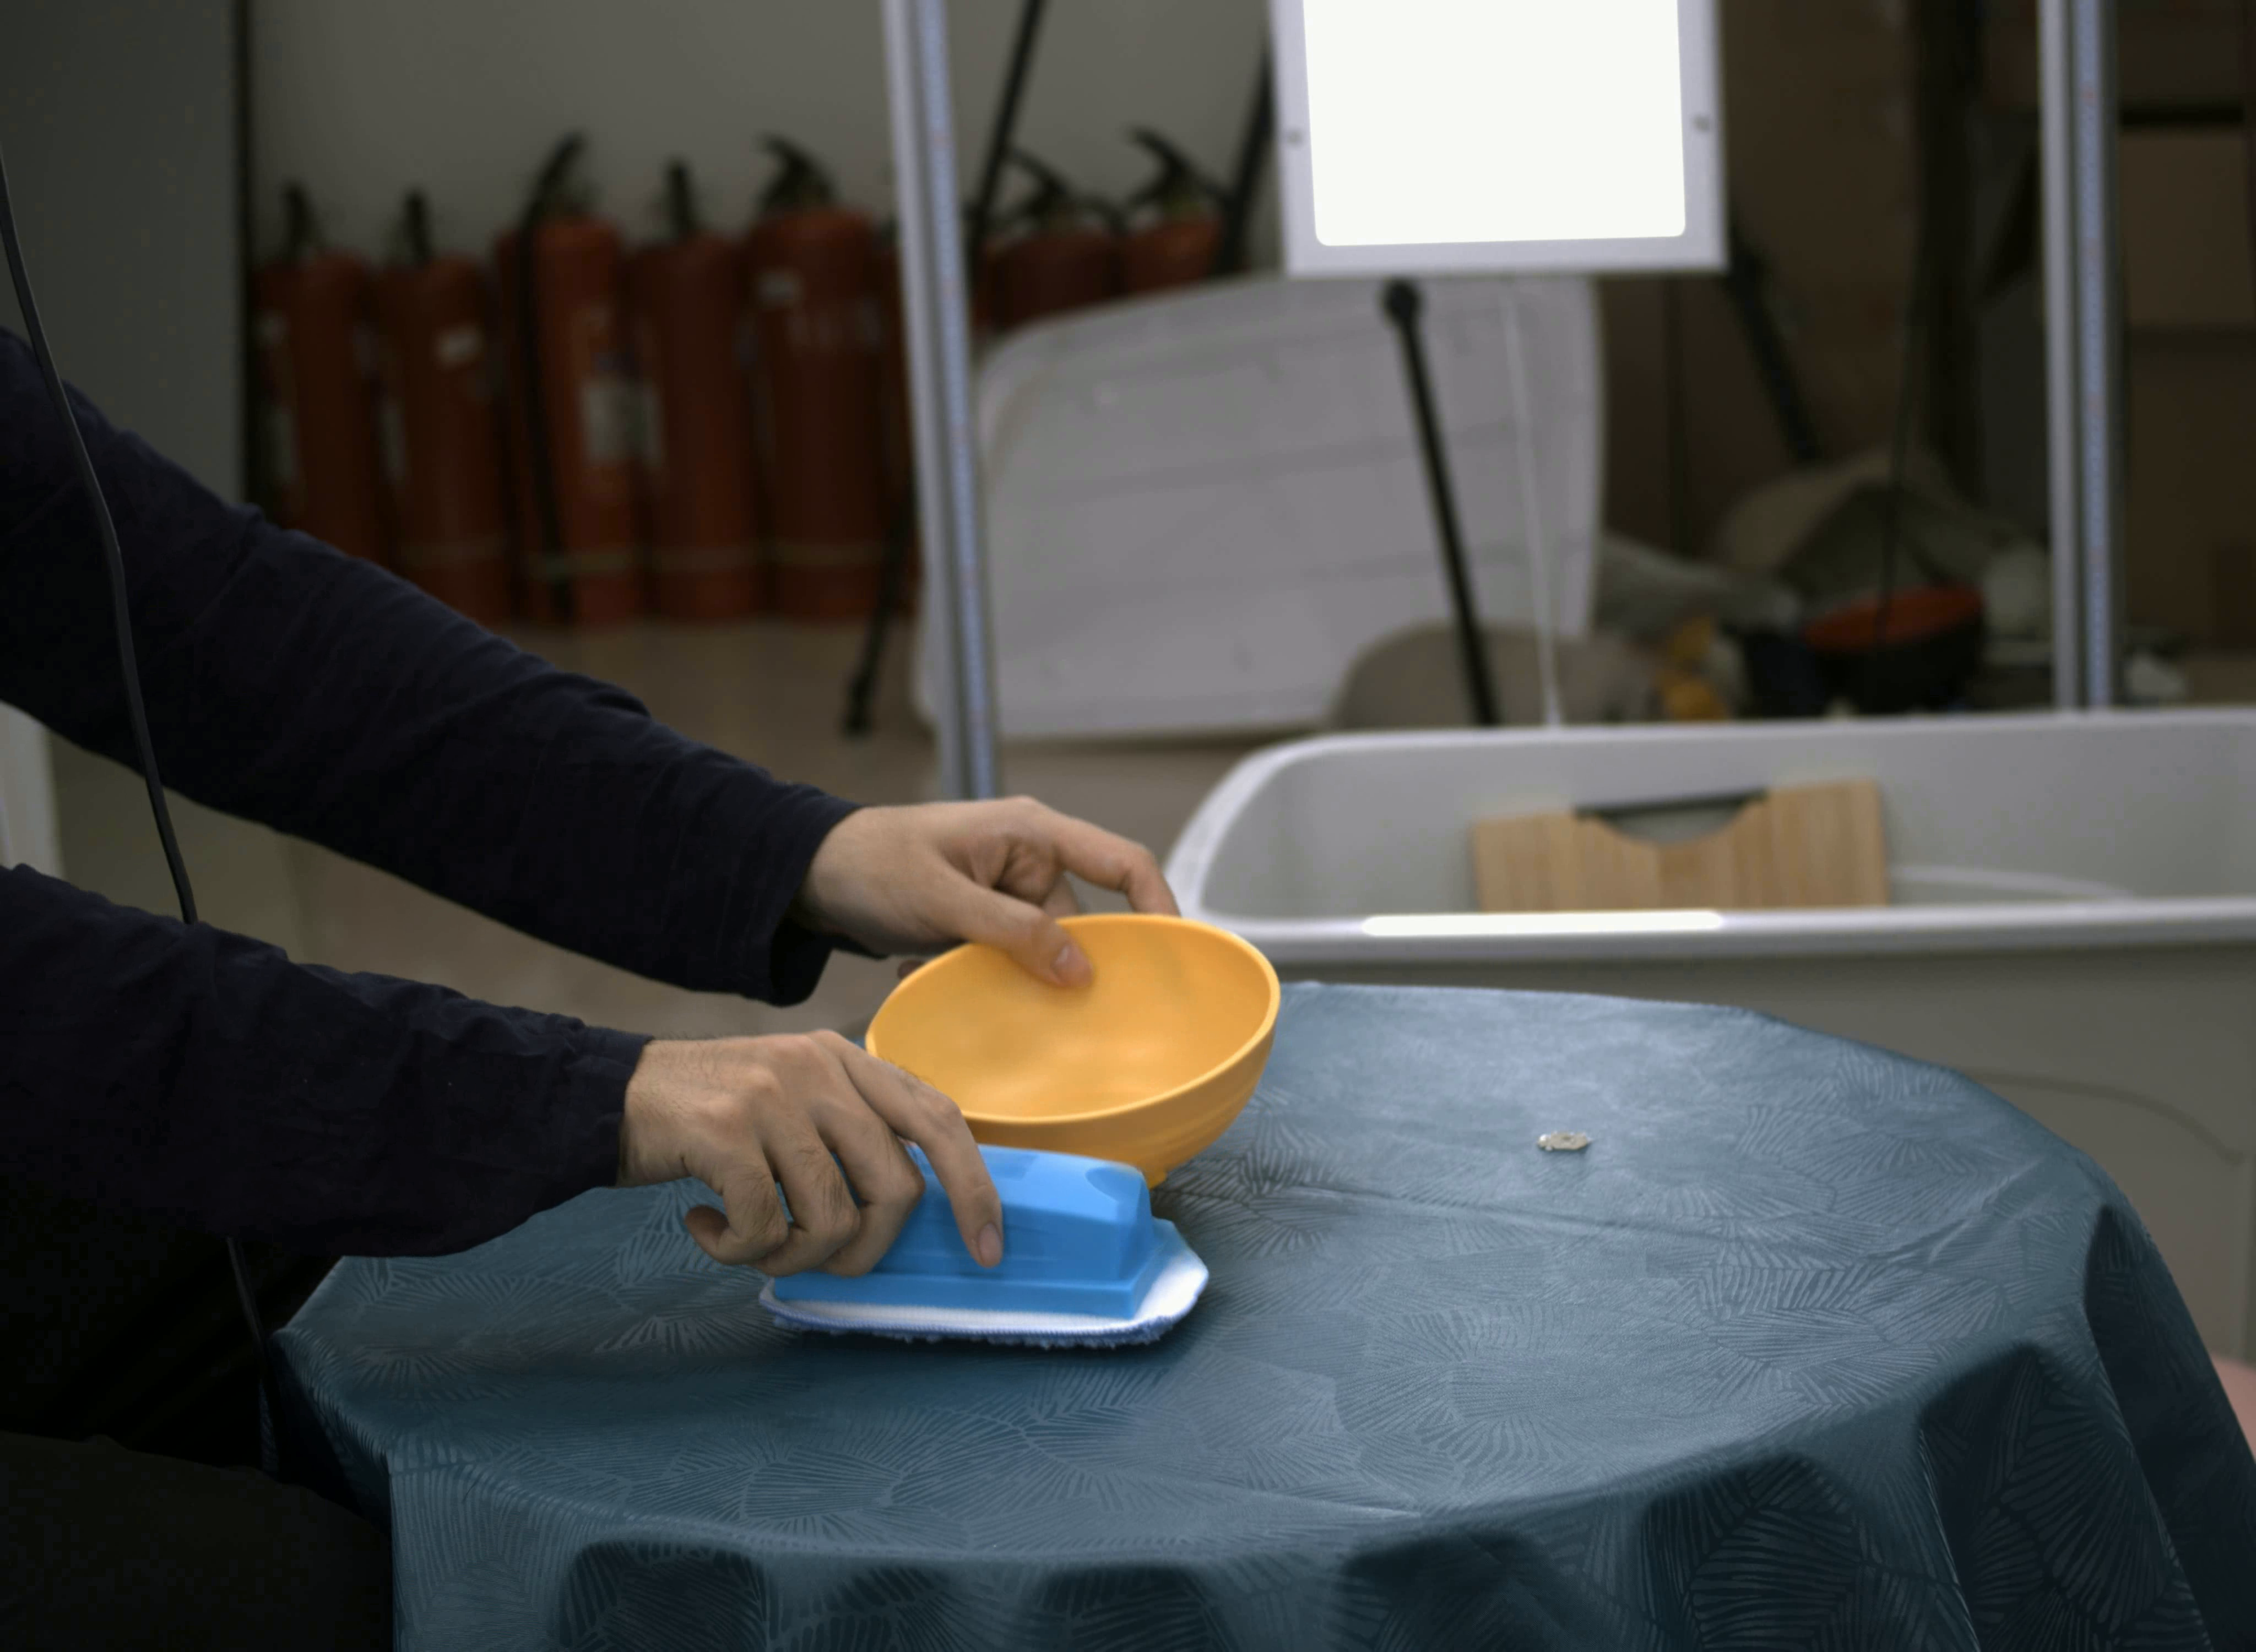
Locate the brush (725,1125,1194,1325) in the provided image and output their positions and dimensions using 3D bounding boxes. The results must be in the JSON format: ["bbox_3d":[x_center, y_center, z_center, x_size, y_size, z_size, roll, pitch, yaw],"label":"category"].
[{"bbox_3d":[-0.053,0.127,1.768,0.145,0.056,0.082,4,14,18],"label":"brush"}]

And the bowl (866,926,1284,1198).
[{"bbox_3d":[-0.015,0.093,1.900,0.145,0.060,0.145,-7,25,2],"label":"bowl"}]
